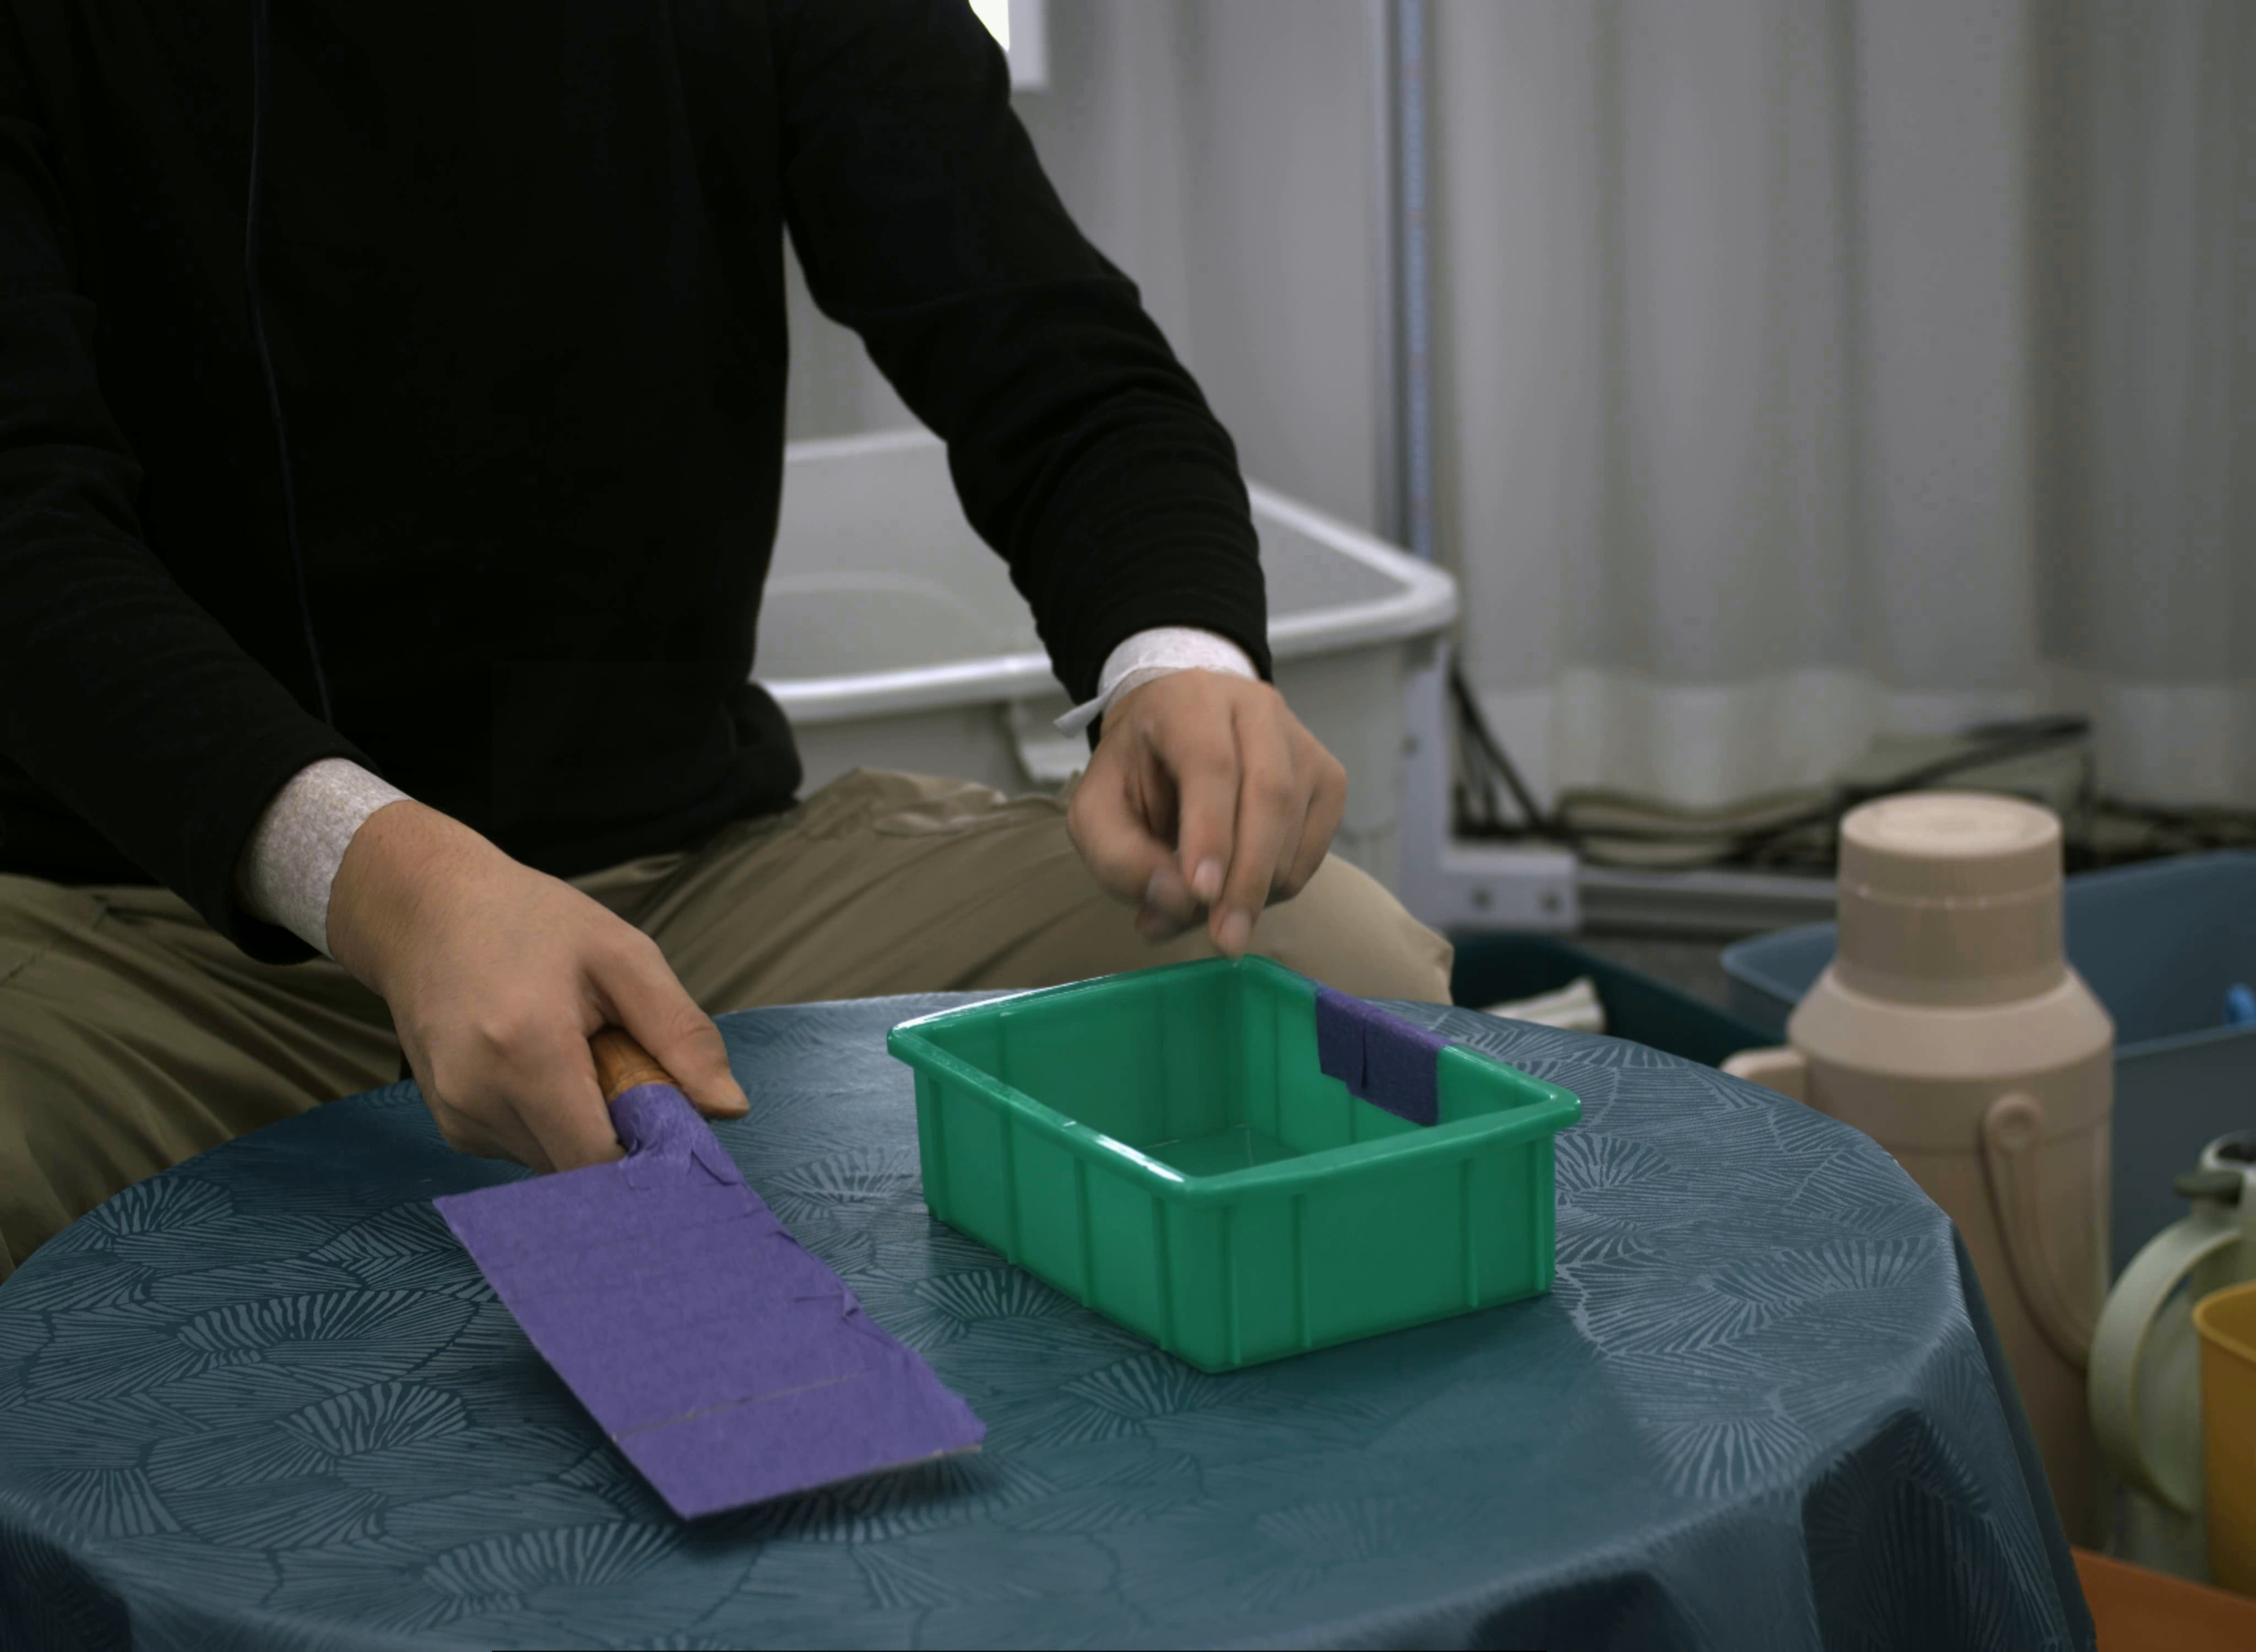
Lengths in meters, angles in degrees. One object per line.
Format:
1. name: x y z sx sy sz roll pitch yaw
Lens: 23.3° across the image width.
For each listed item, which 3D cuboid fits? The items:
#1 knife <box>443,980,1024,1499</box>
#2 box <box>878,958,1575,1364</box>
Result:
1. knife: -0.141 0.115 1.584 0.103 0.032 0.318 -9 22 -24
2. box: 0.028 0.099 1.647 0.138 0.065 0.212 -9 14 -28
